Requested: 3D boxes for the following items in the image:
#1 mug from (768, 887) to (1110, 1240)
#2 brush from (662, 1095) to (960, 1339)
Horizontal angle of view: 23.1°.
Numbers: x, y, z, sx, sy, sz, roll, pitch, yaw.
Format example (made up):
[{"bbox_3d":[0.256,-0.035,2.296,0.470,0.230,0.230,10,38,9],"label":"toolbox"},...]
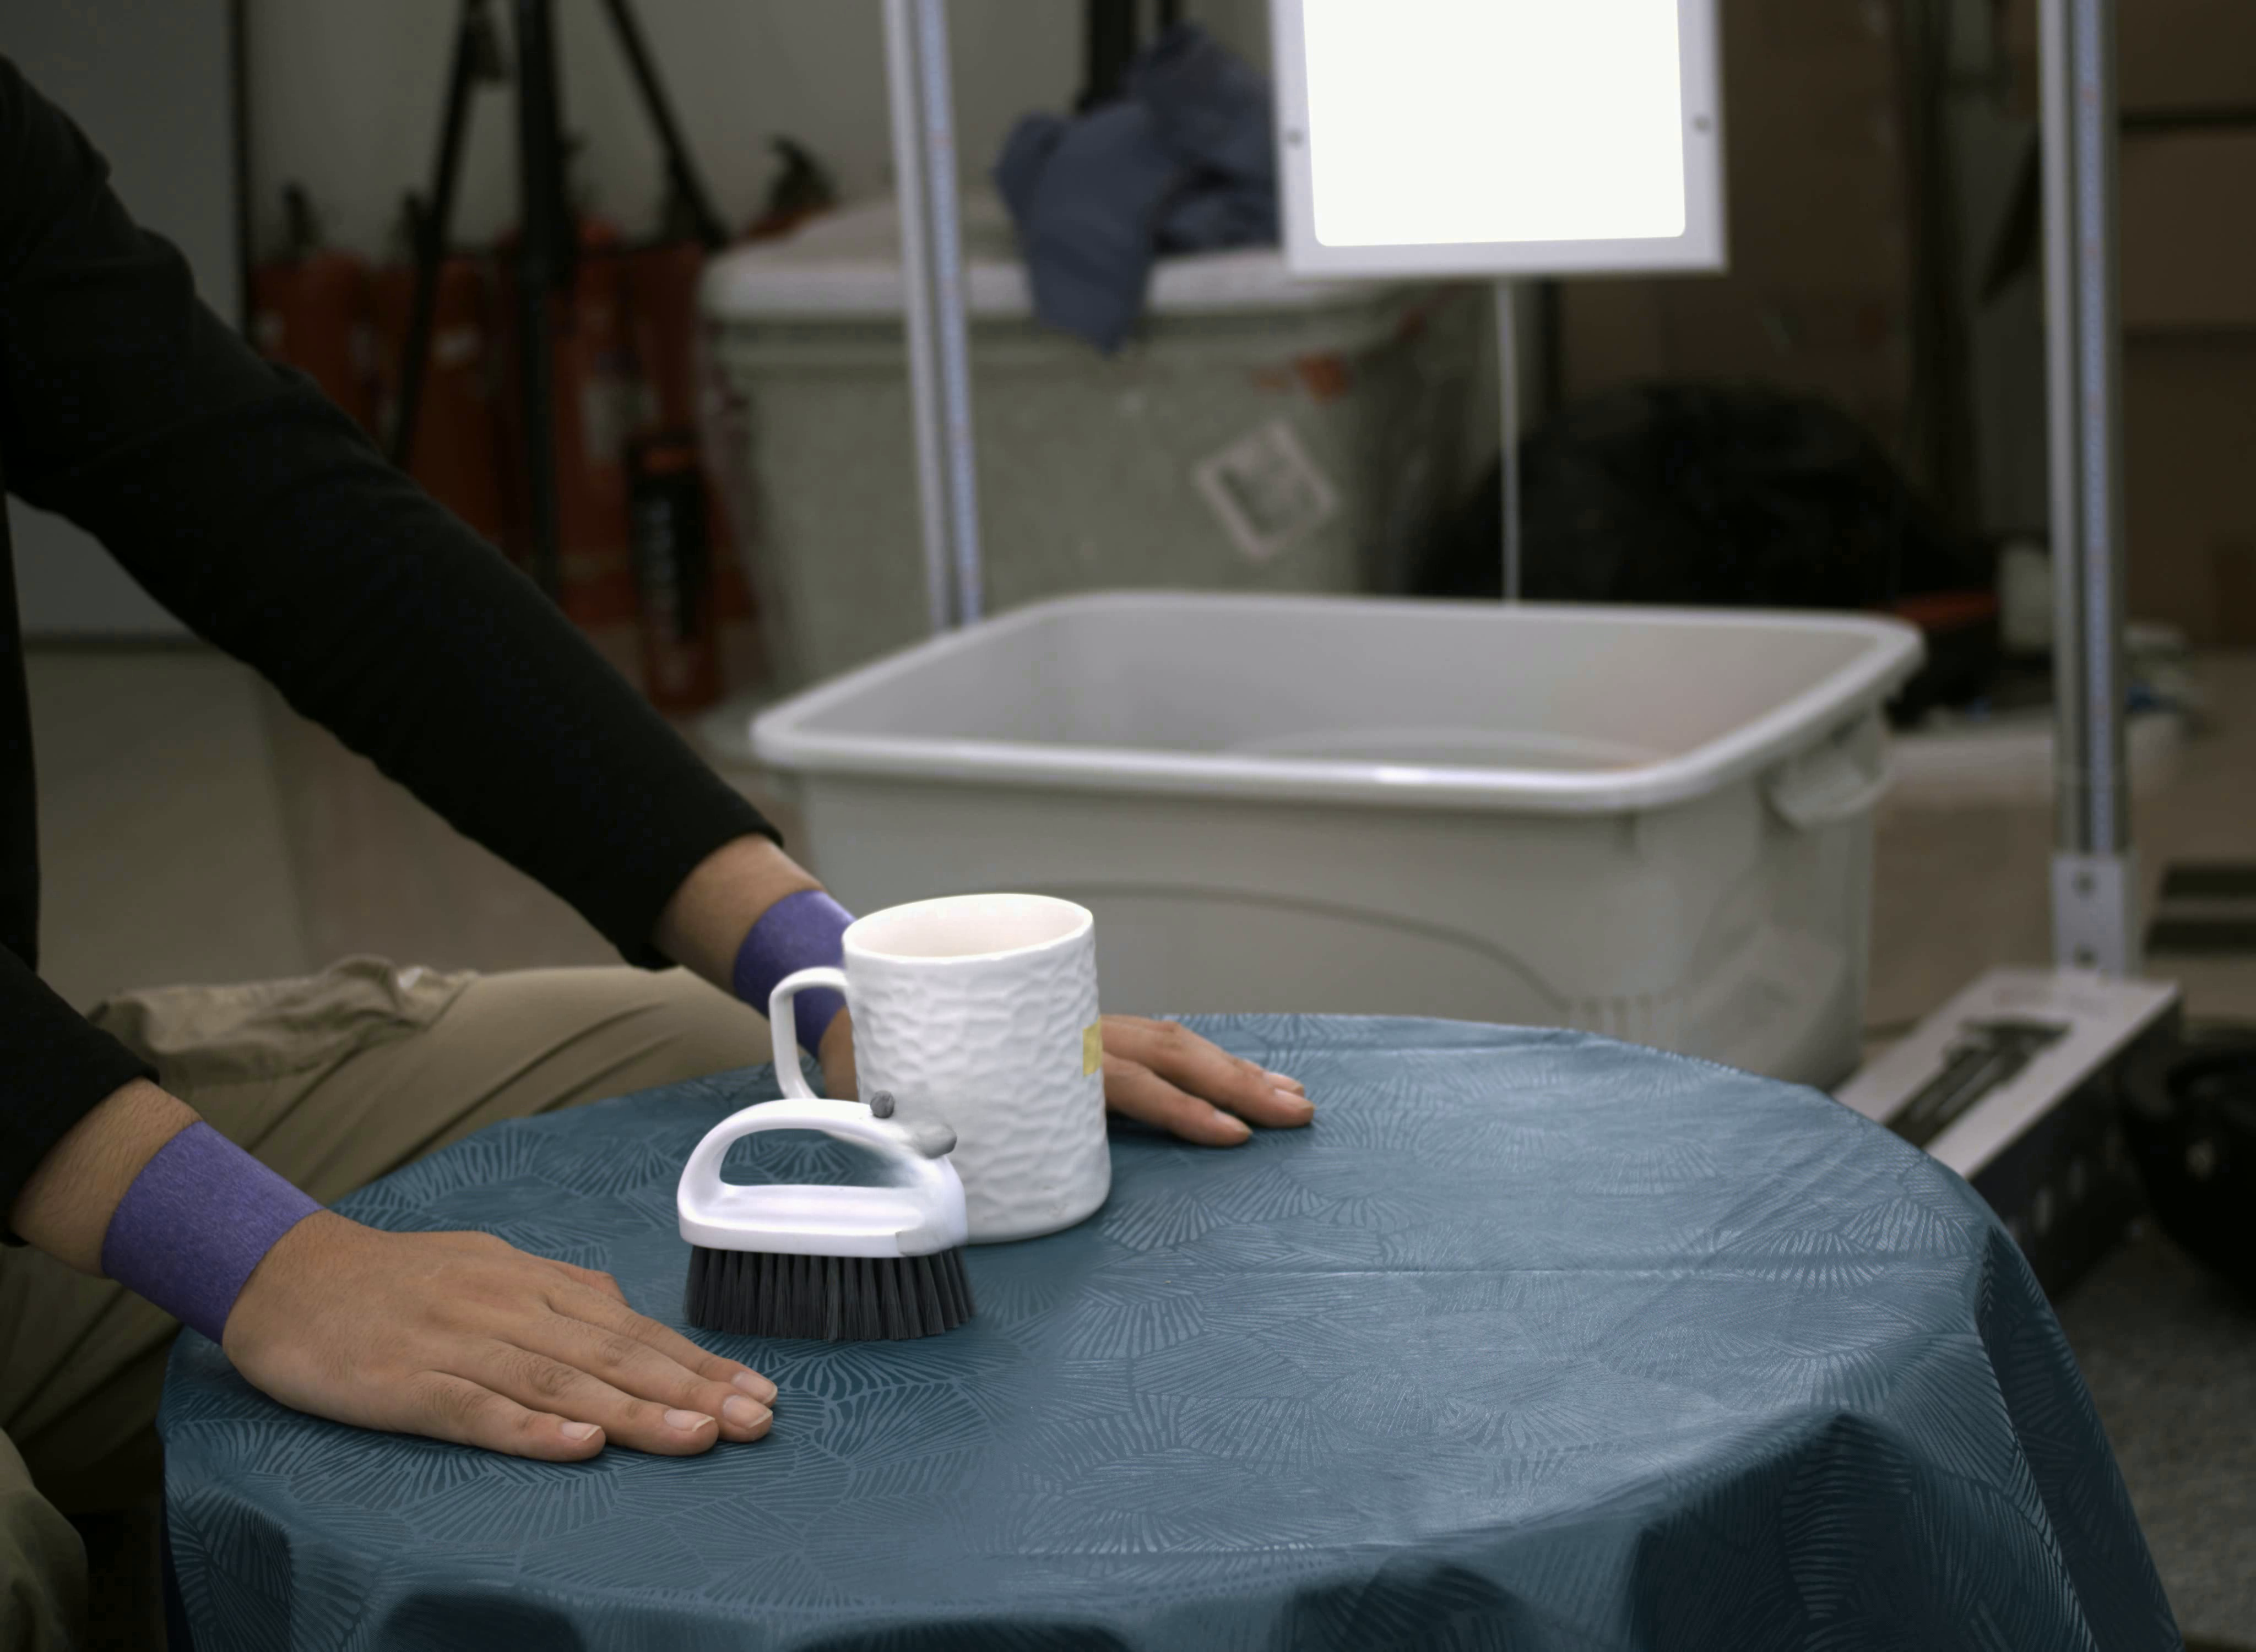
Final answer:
[{"bbox_3d":[-0.066,0.081,1.885,0.120,0.102,0.083,1,15,21],"label":"mug"},{"bbox_3d":[-0.102,0.124,1.788,0.100,0.073,0.049,4,11,15],"label":"brush"}]
